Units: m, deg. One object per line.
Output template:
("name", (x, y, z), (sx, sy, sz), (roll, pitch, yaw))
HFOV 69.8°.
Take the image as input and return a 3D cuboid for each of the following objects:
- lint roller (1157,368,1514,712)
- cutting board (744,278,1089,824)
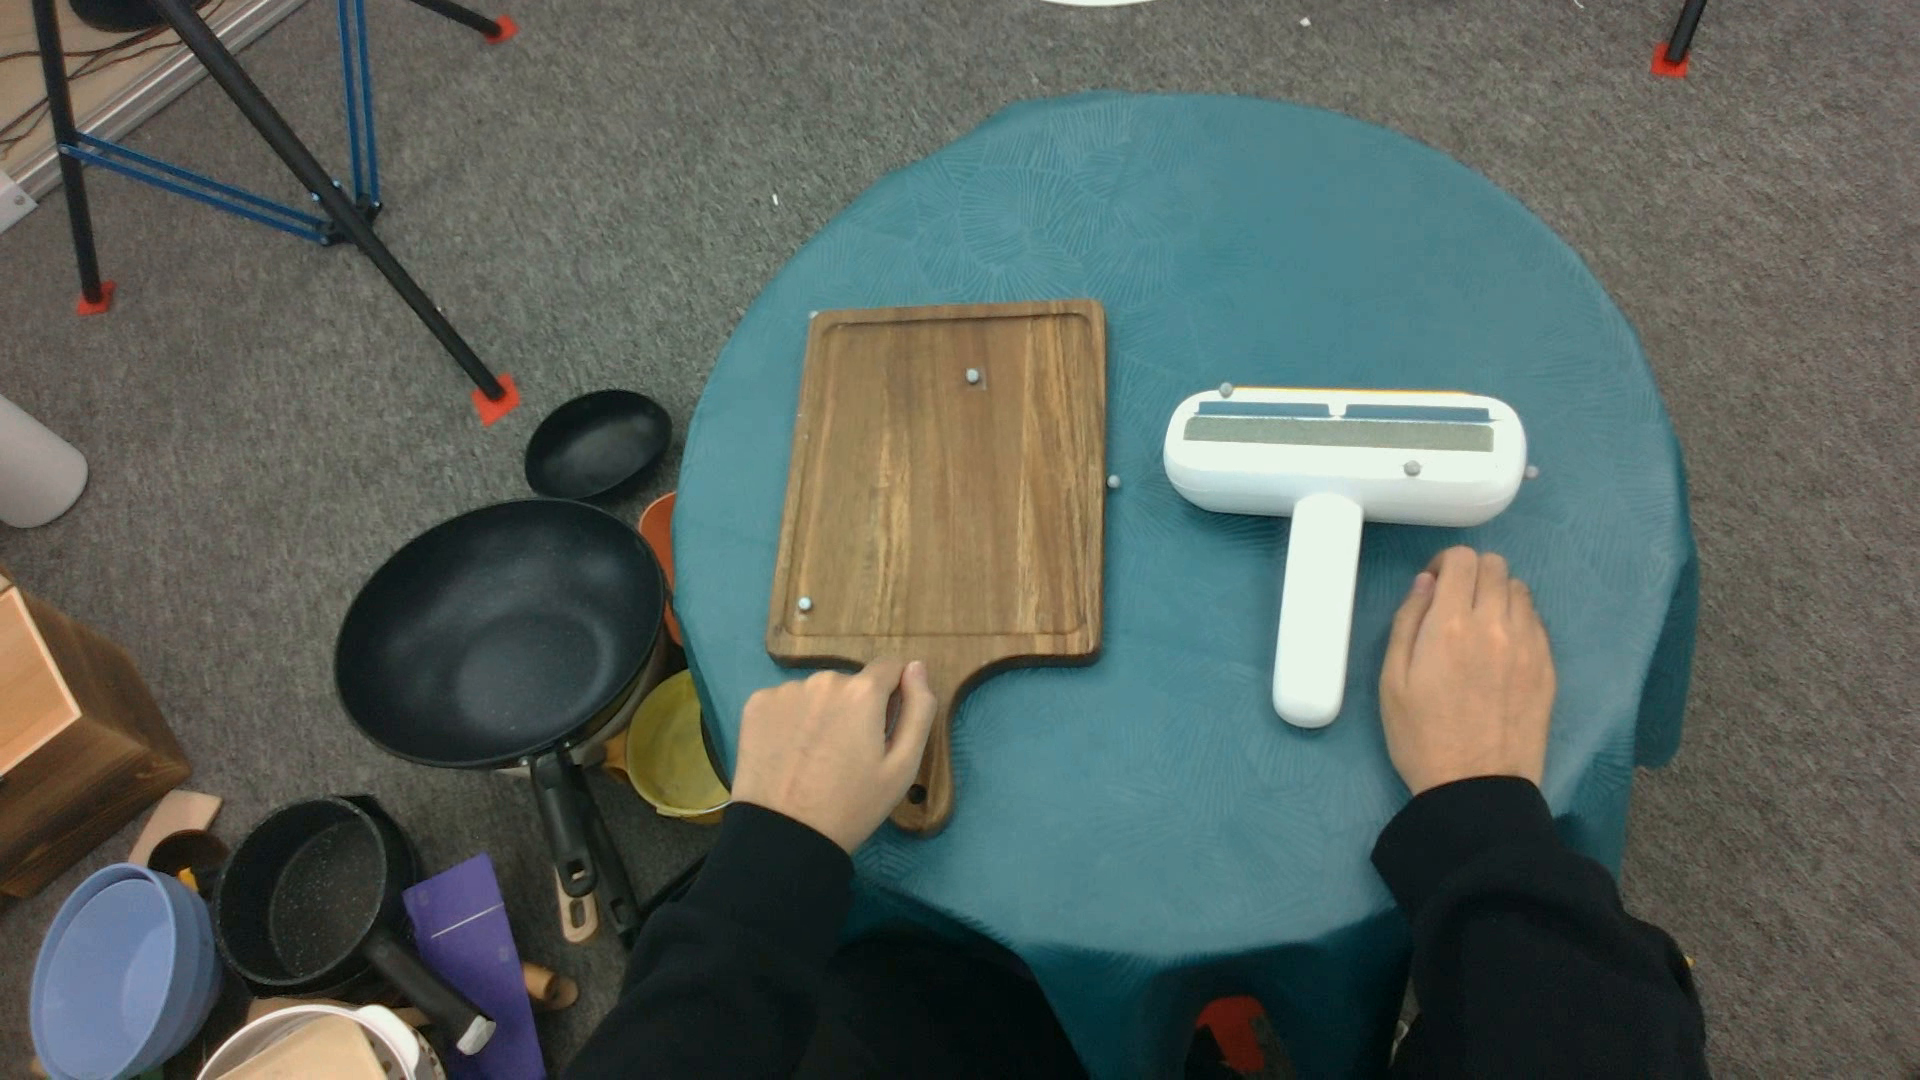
("lint roller", (0.191, -0.002, 0.755), (0.192, 0.074, 0.193), (10, 66, 20))
("cutting board", (-0.025, -0.006, 0.817), (0.201, 0.023, 0.353), (-2, 62, 7))
